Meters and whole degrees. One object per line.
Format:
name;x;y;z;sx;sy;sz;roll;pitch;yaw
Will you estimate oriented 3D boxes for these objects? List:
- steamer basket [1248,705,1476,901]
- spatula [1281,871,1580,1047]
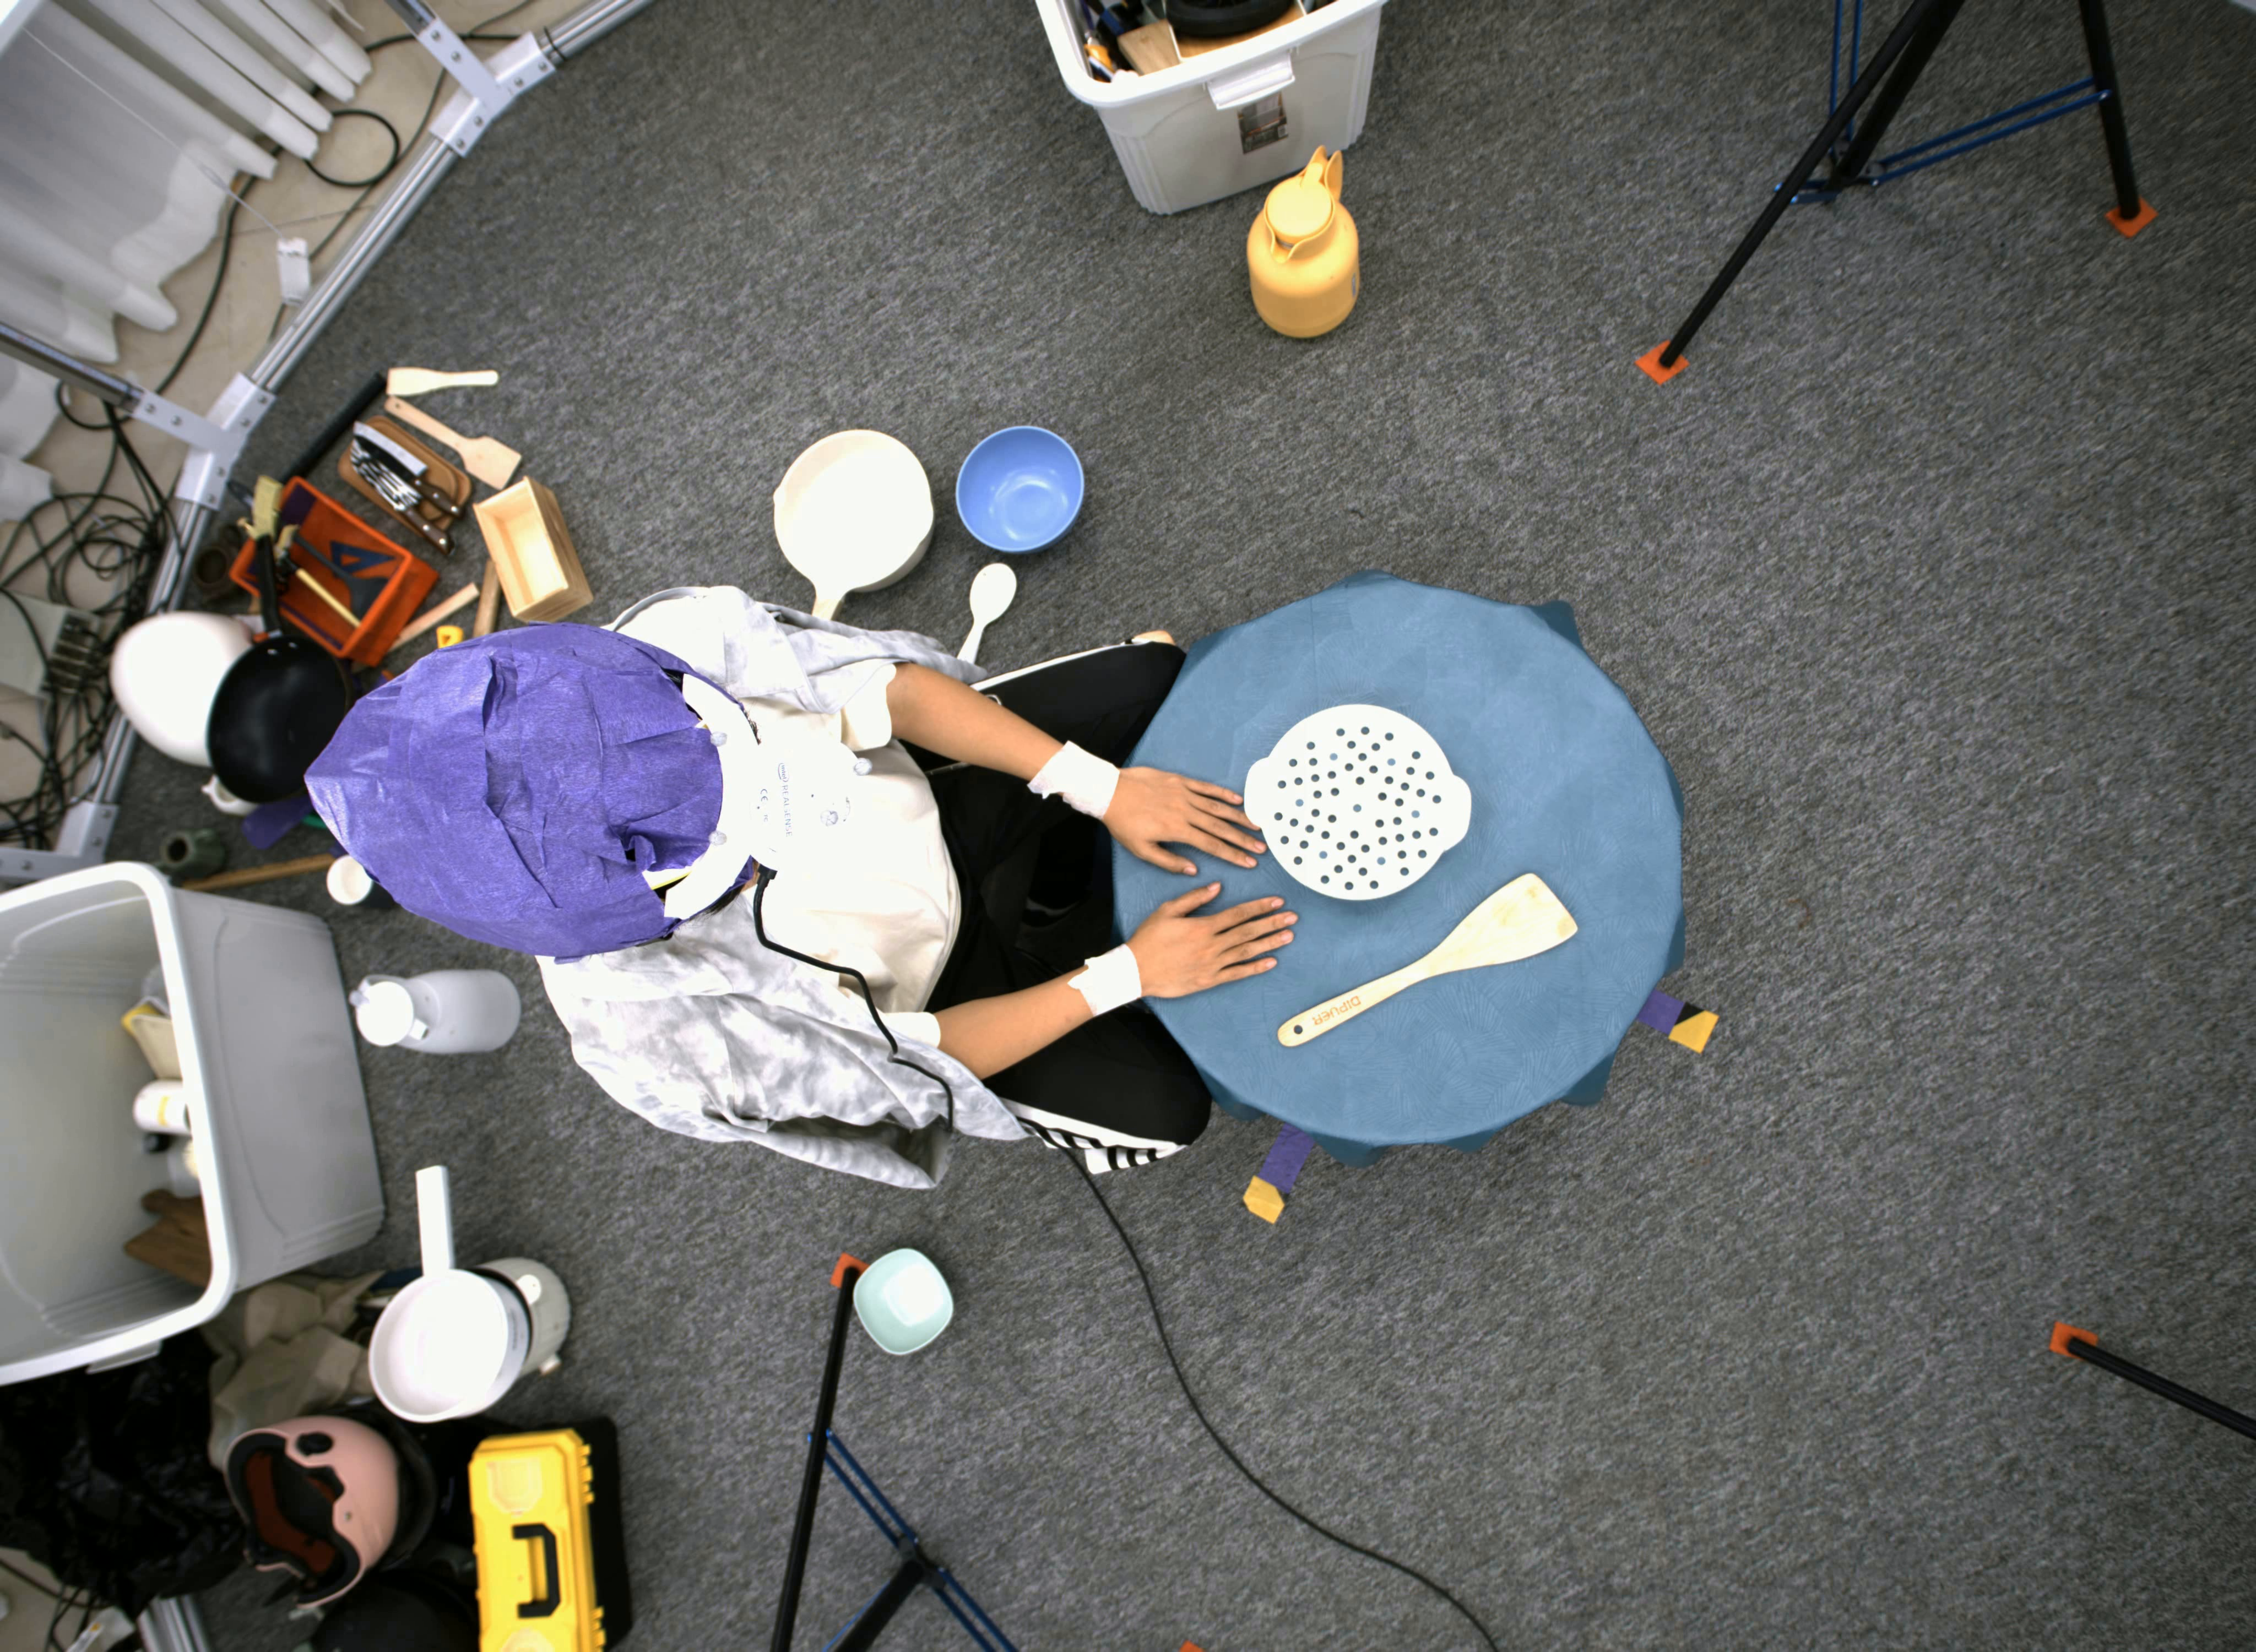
steamer basket;0.242;-0.023;1.435;0.231;0.069;0.201;6;86;12
spatula;0.306;0.147;1.438;0.329;0.016;0.079;-28;81;8
